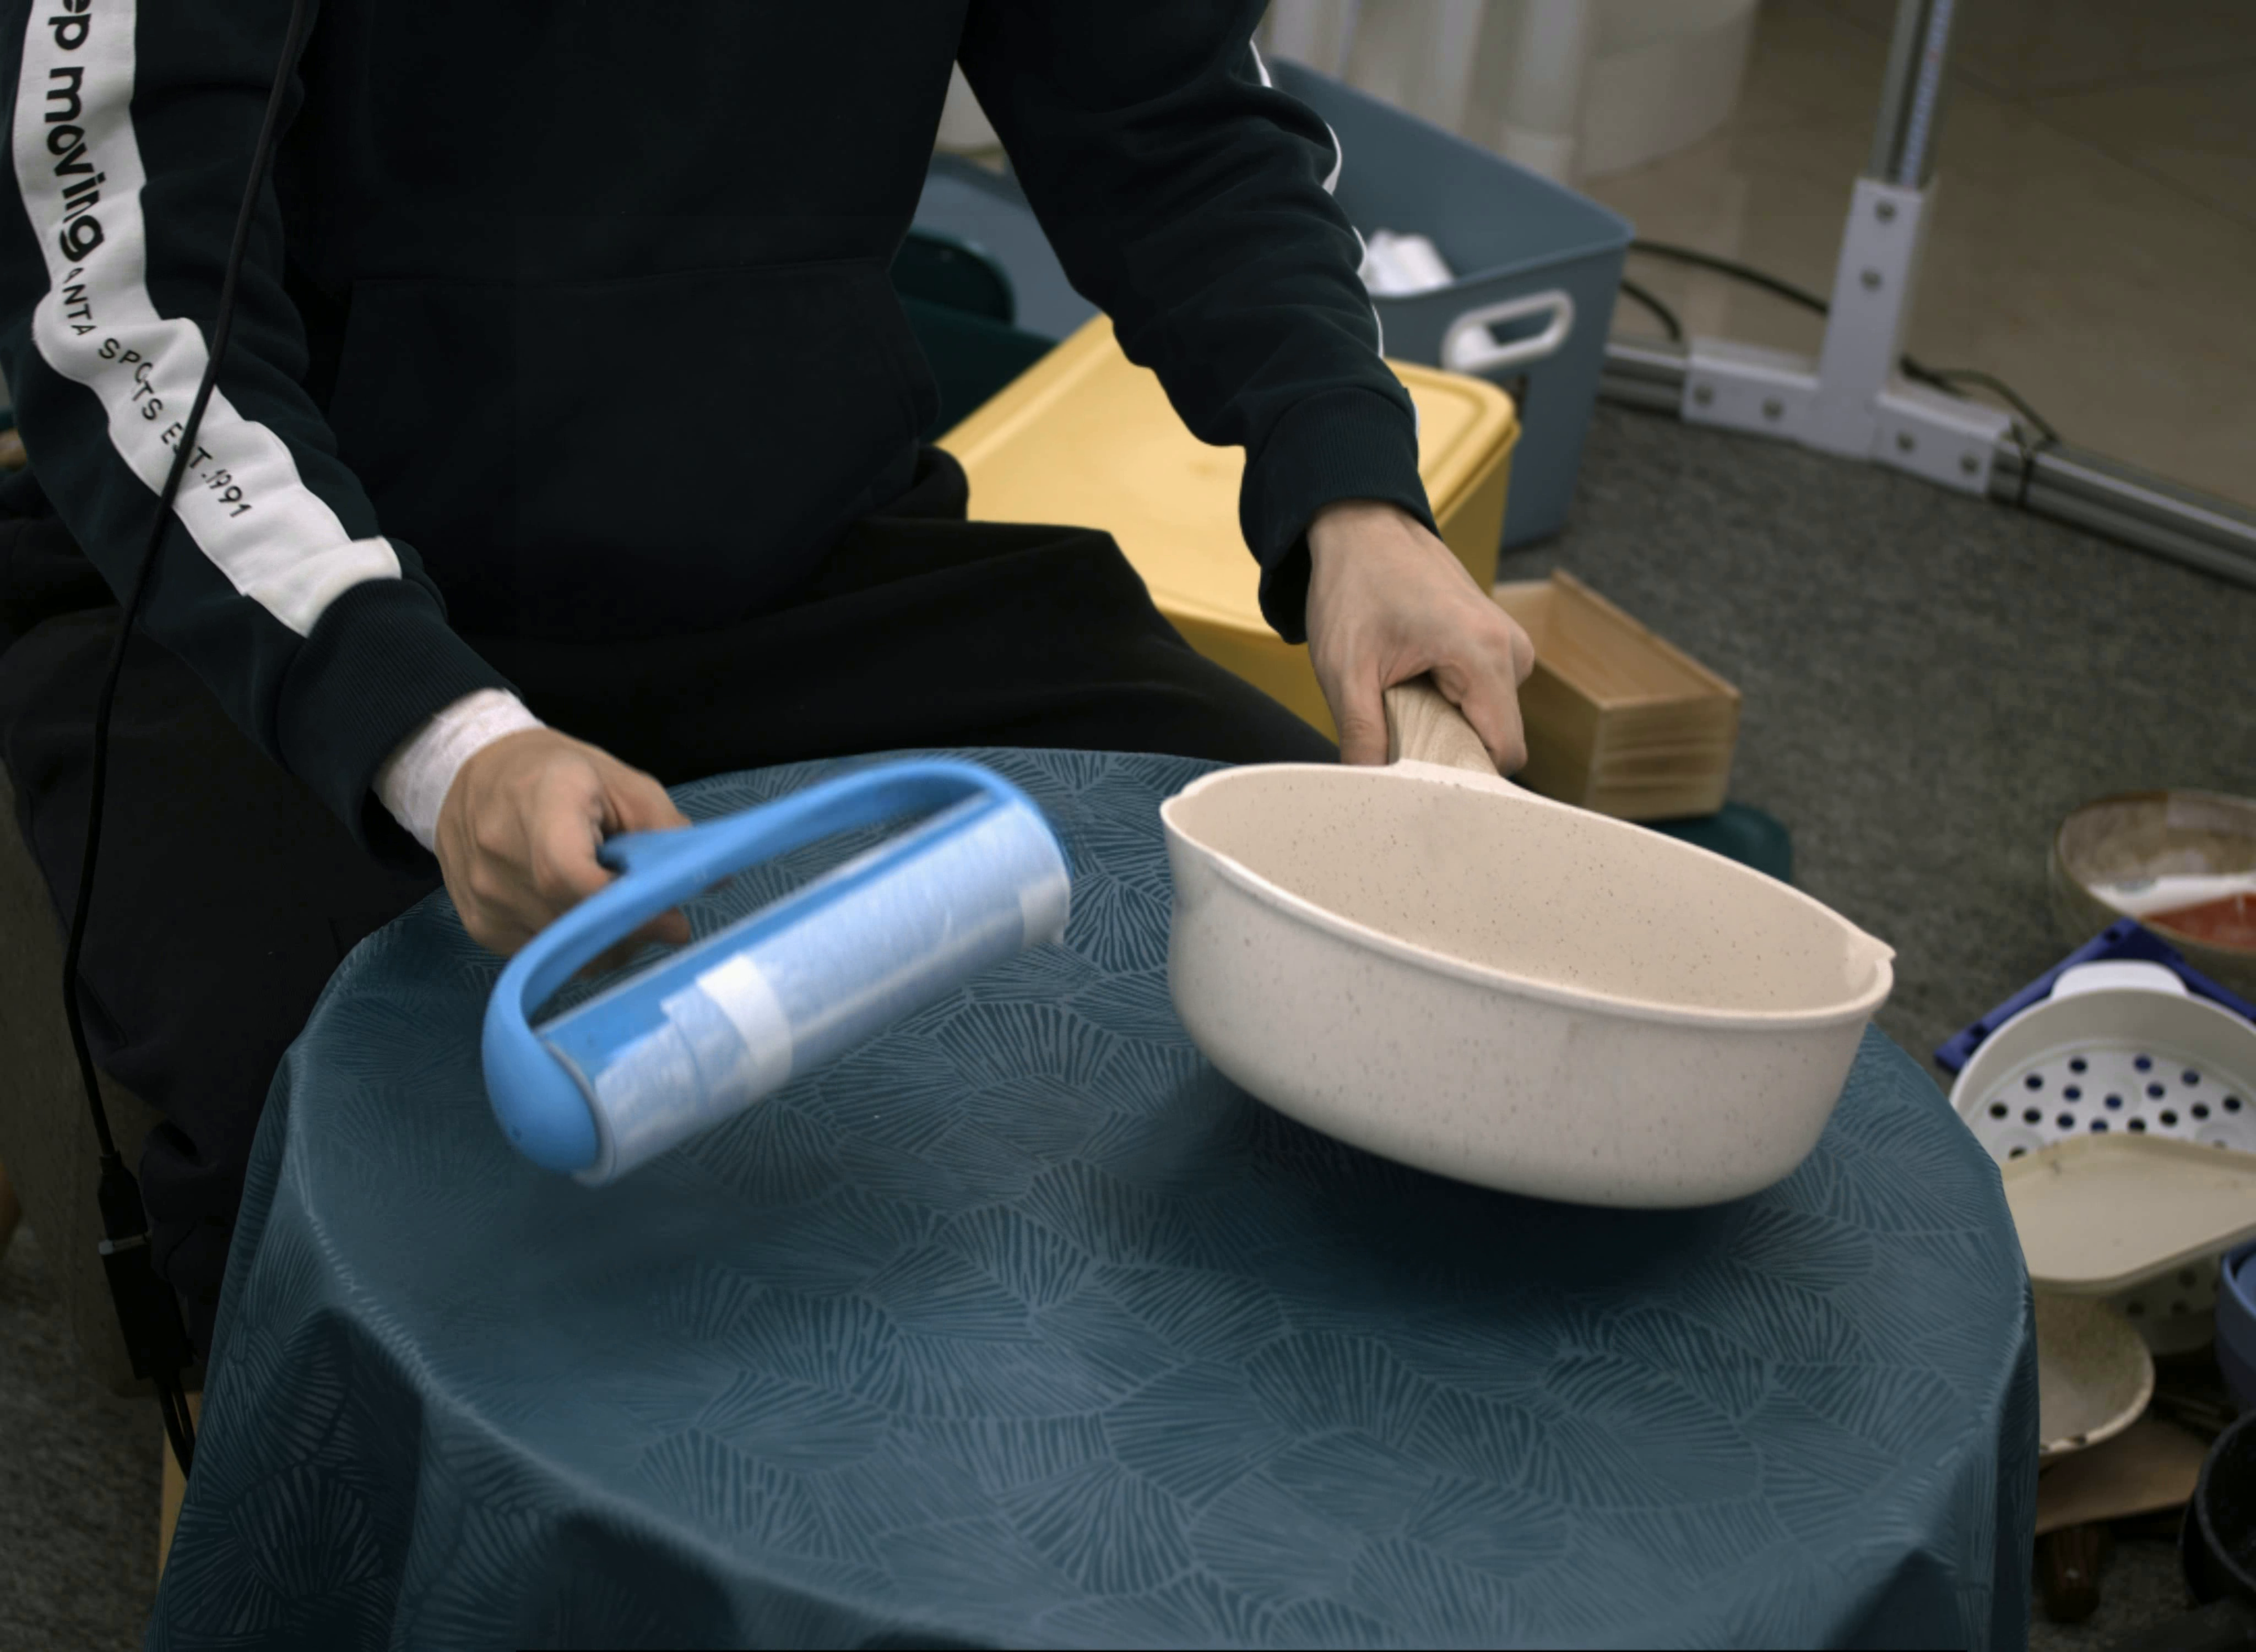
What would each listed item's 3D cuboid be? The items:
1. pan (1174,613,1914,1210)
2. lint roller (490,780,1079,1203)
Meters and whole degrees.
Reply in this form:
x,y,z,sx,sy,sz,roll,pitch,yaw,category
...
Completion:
x,y,z,sx,sy,sz,roll,pitch,yaw,category
0.122,0.026,1.901,0.262,0.102,0.437,8,15,-12,pan
-0.147,0.040,1.766,0.228,0.067,0.181,-31,36,-34,lint roller
